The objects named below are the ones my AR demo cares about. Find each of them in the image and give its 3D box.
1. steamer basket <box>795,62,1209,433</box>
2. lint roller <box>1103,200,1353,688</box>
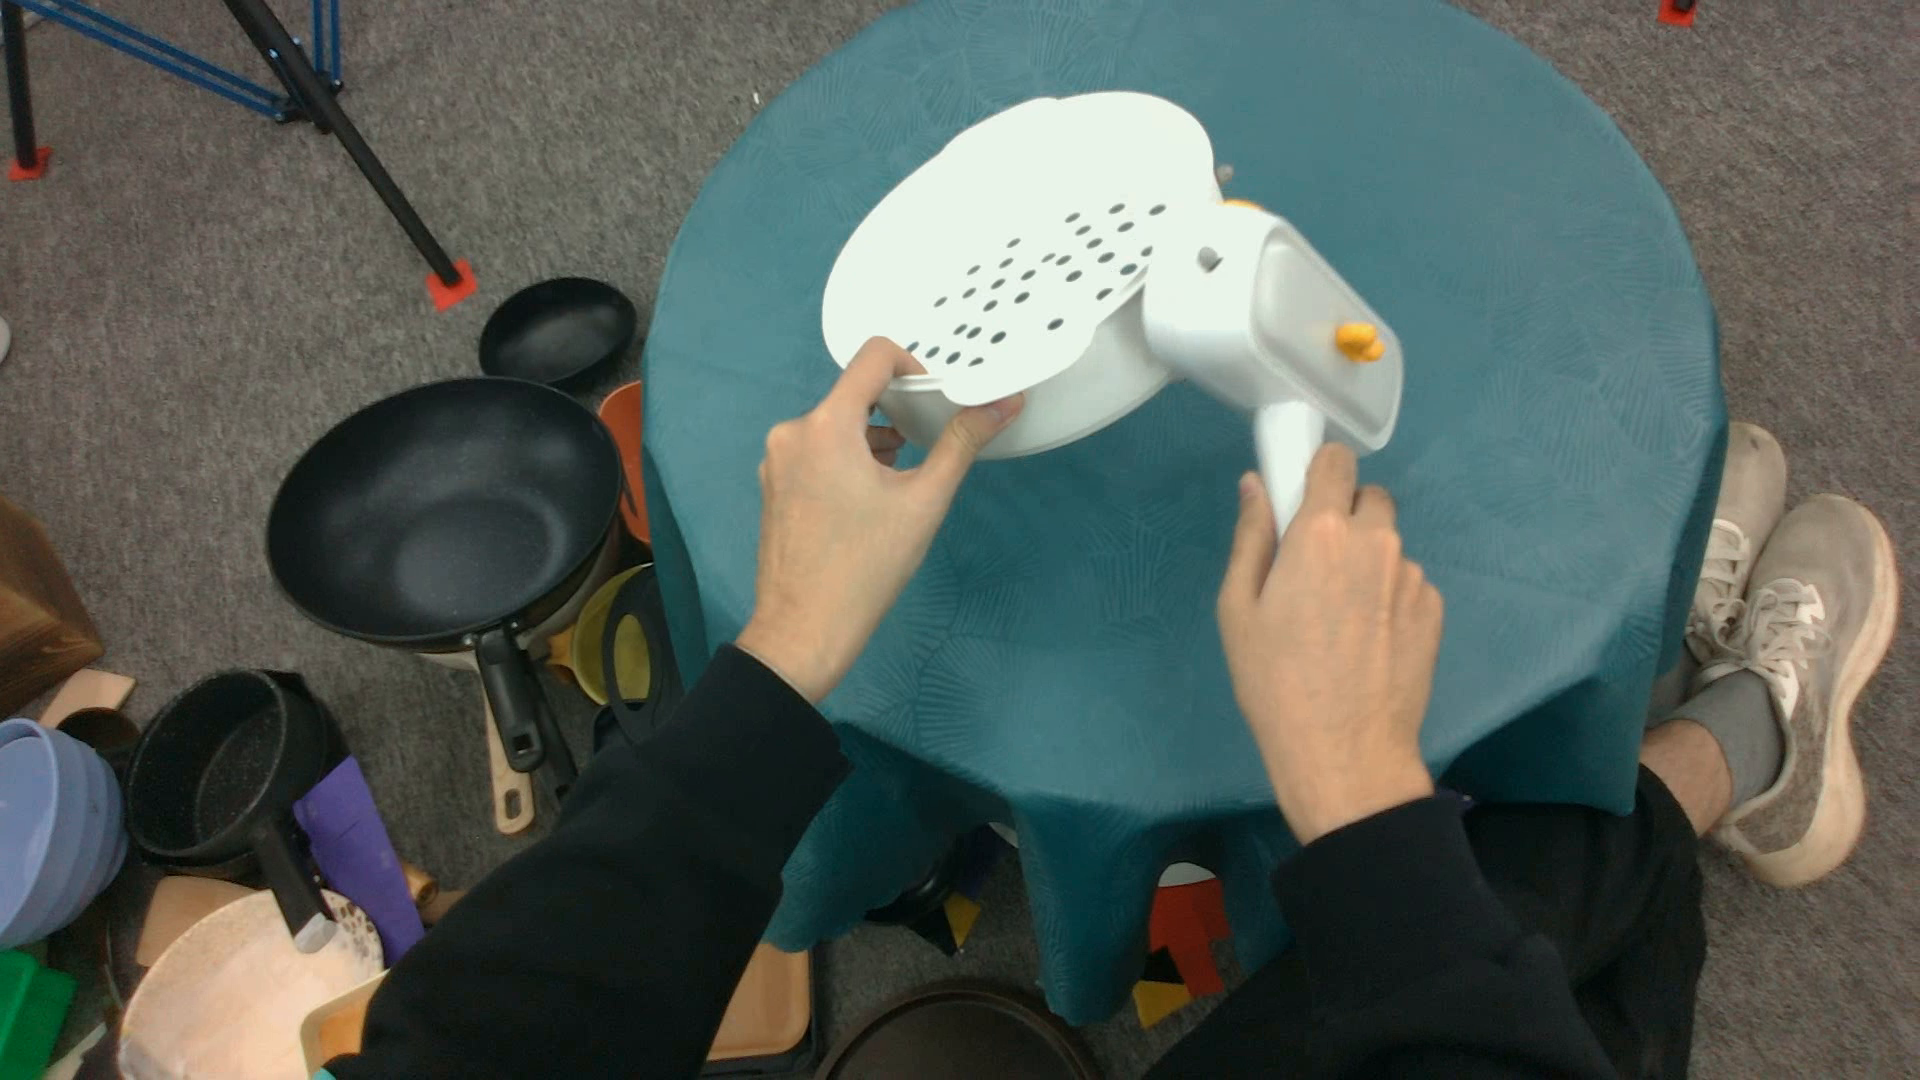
[{"bbox_3d":[0.021,-0.142,0.672,0.201,0.069,0.231,-19,46,16],"label":"steamer basket"},{"bbox_3d":[0.129,-0.032,0.597,0.074,0.193,0.192,-5,79,28],"label":"lint roller"}]
